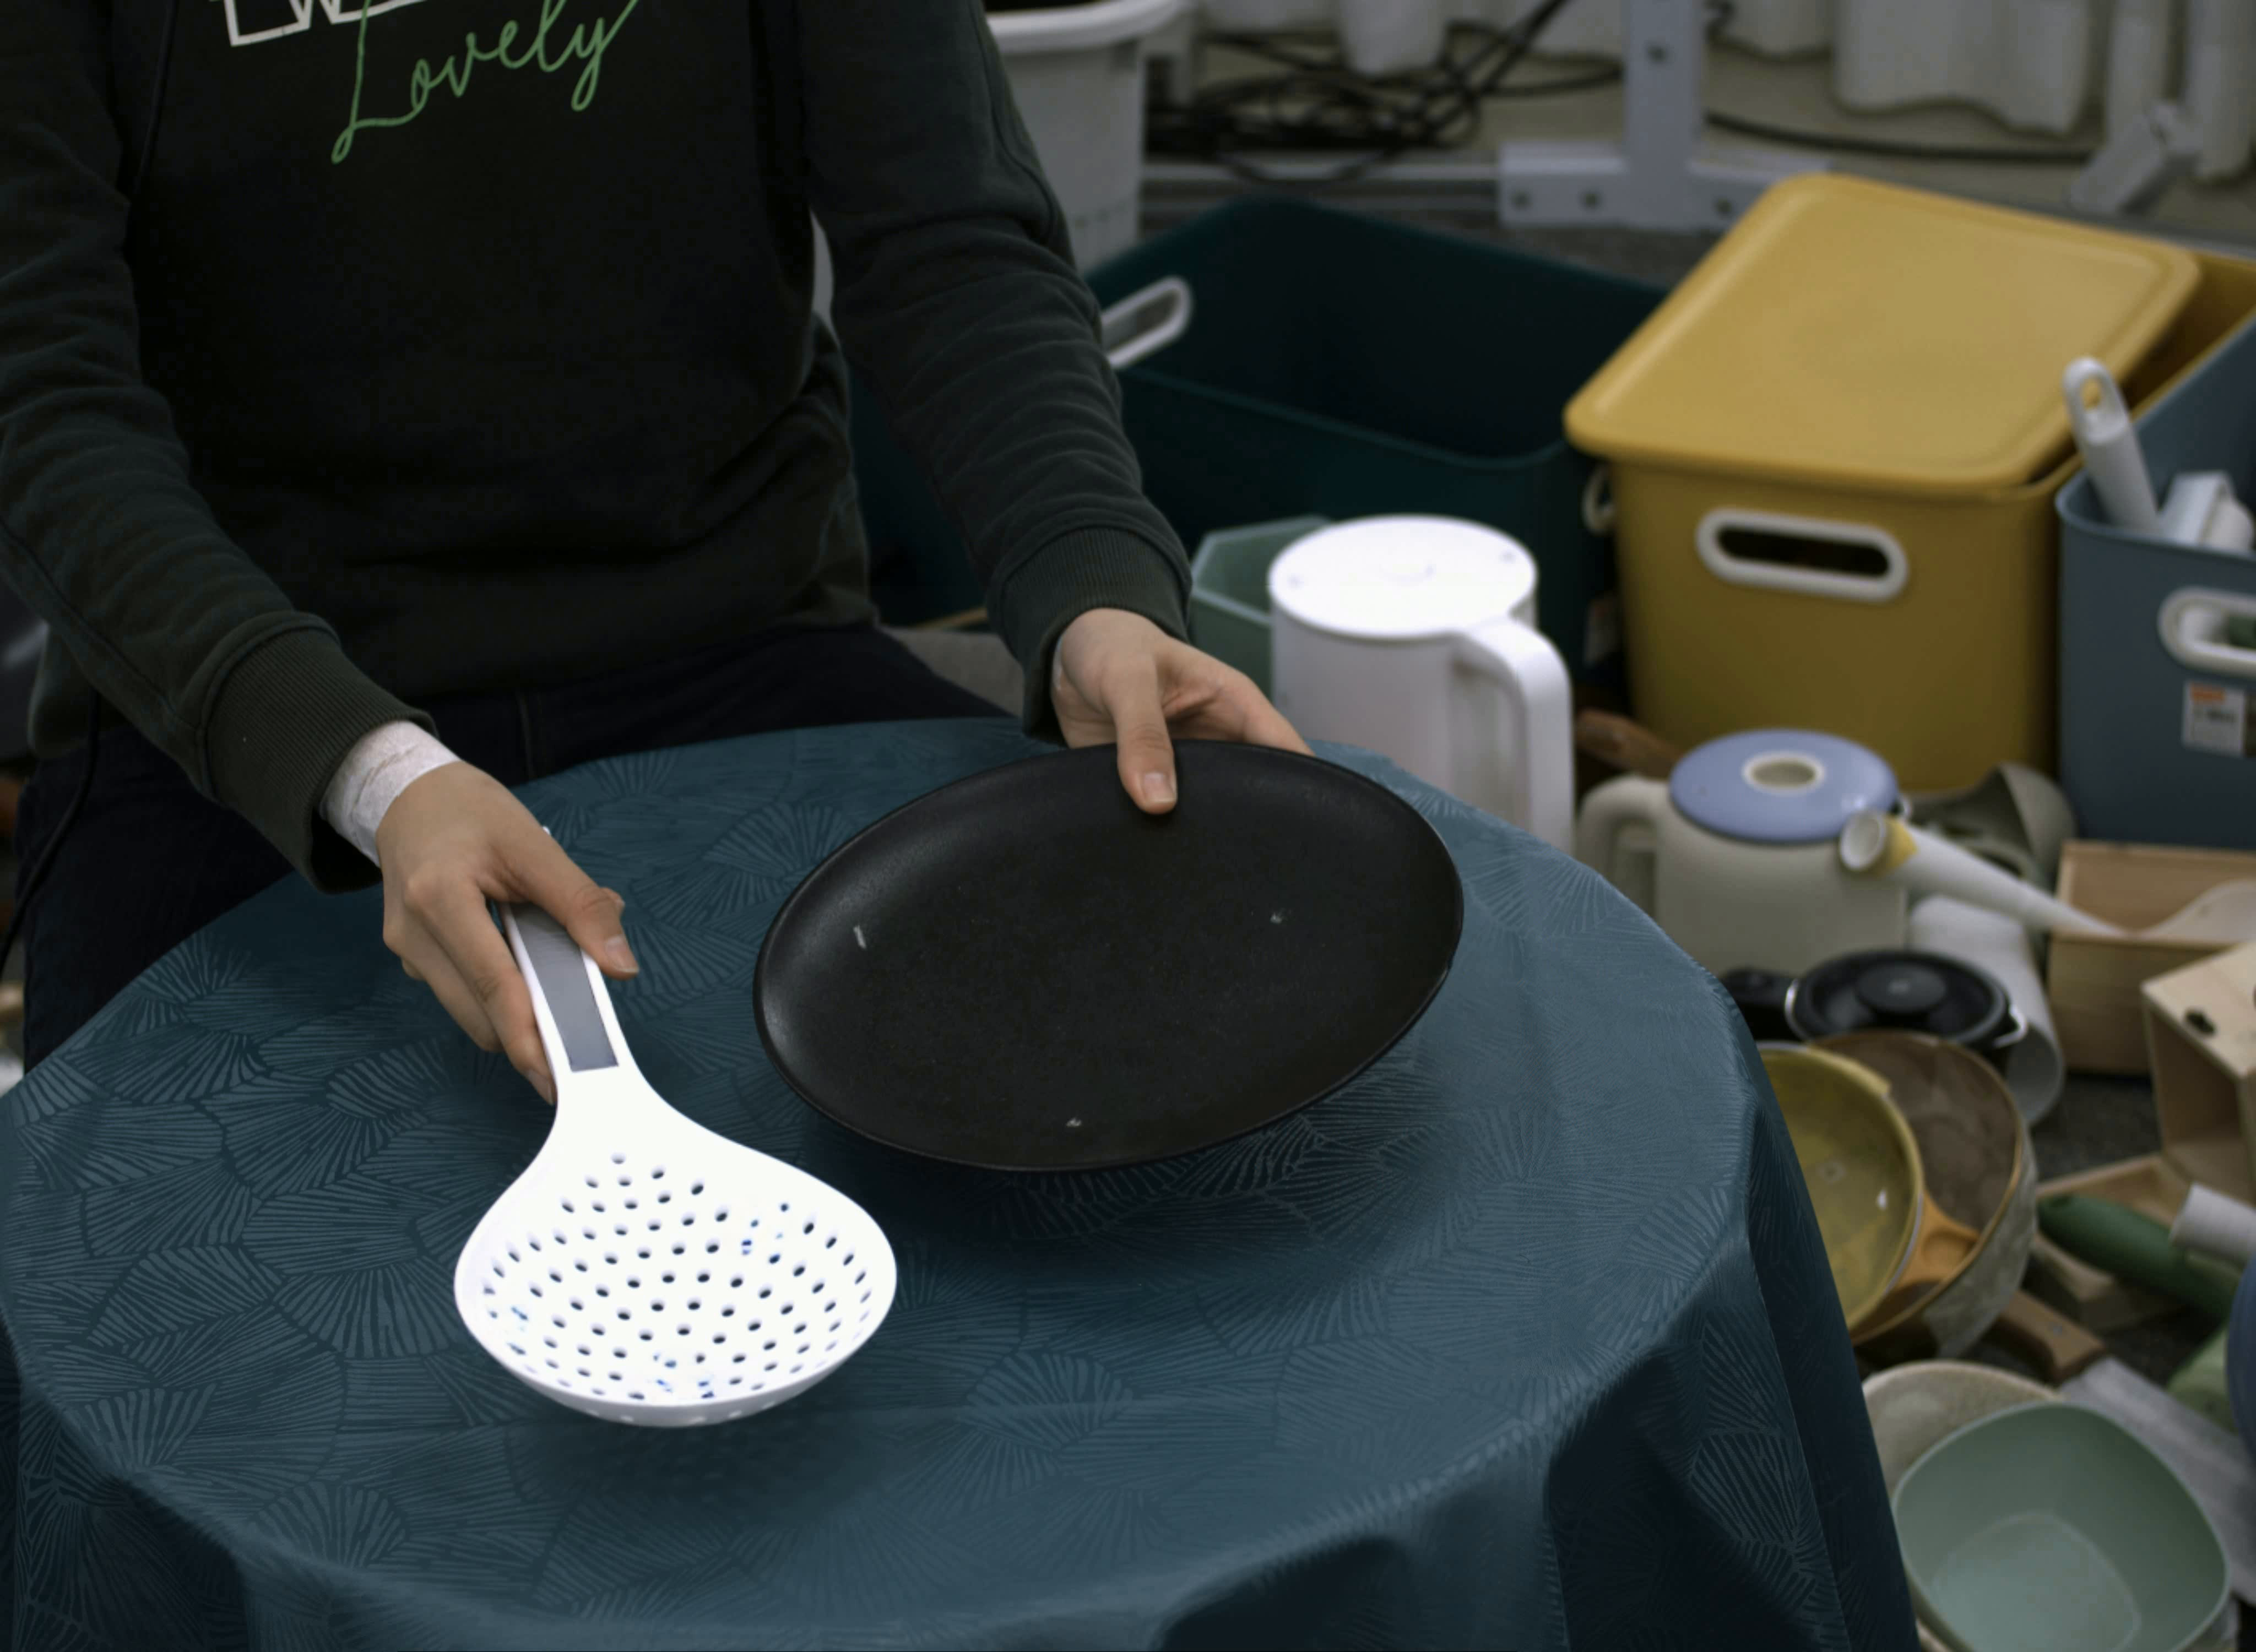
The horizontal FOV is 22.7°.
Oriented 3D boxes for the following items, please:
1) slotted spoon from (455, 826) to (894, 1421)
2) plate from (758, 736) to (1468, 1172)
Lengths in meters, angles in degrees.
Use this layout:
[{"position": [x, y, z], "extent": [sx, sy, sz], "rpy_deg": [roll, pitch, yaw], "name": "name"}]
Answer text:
[{"position": [-0.169, 0.091, 1.826], "extent": [0.136, 0.045, 0.354], "rpy_deg": [-6, 35, -15], "name": "slotted spoon"}, {"position": [-0.004, 0.047, 1.894], "extent": [0.243, 0.023, 0.249], "rpy_deg": [-7, 33, 5], "name": "plate"}]
